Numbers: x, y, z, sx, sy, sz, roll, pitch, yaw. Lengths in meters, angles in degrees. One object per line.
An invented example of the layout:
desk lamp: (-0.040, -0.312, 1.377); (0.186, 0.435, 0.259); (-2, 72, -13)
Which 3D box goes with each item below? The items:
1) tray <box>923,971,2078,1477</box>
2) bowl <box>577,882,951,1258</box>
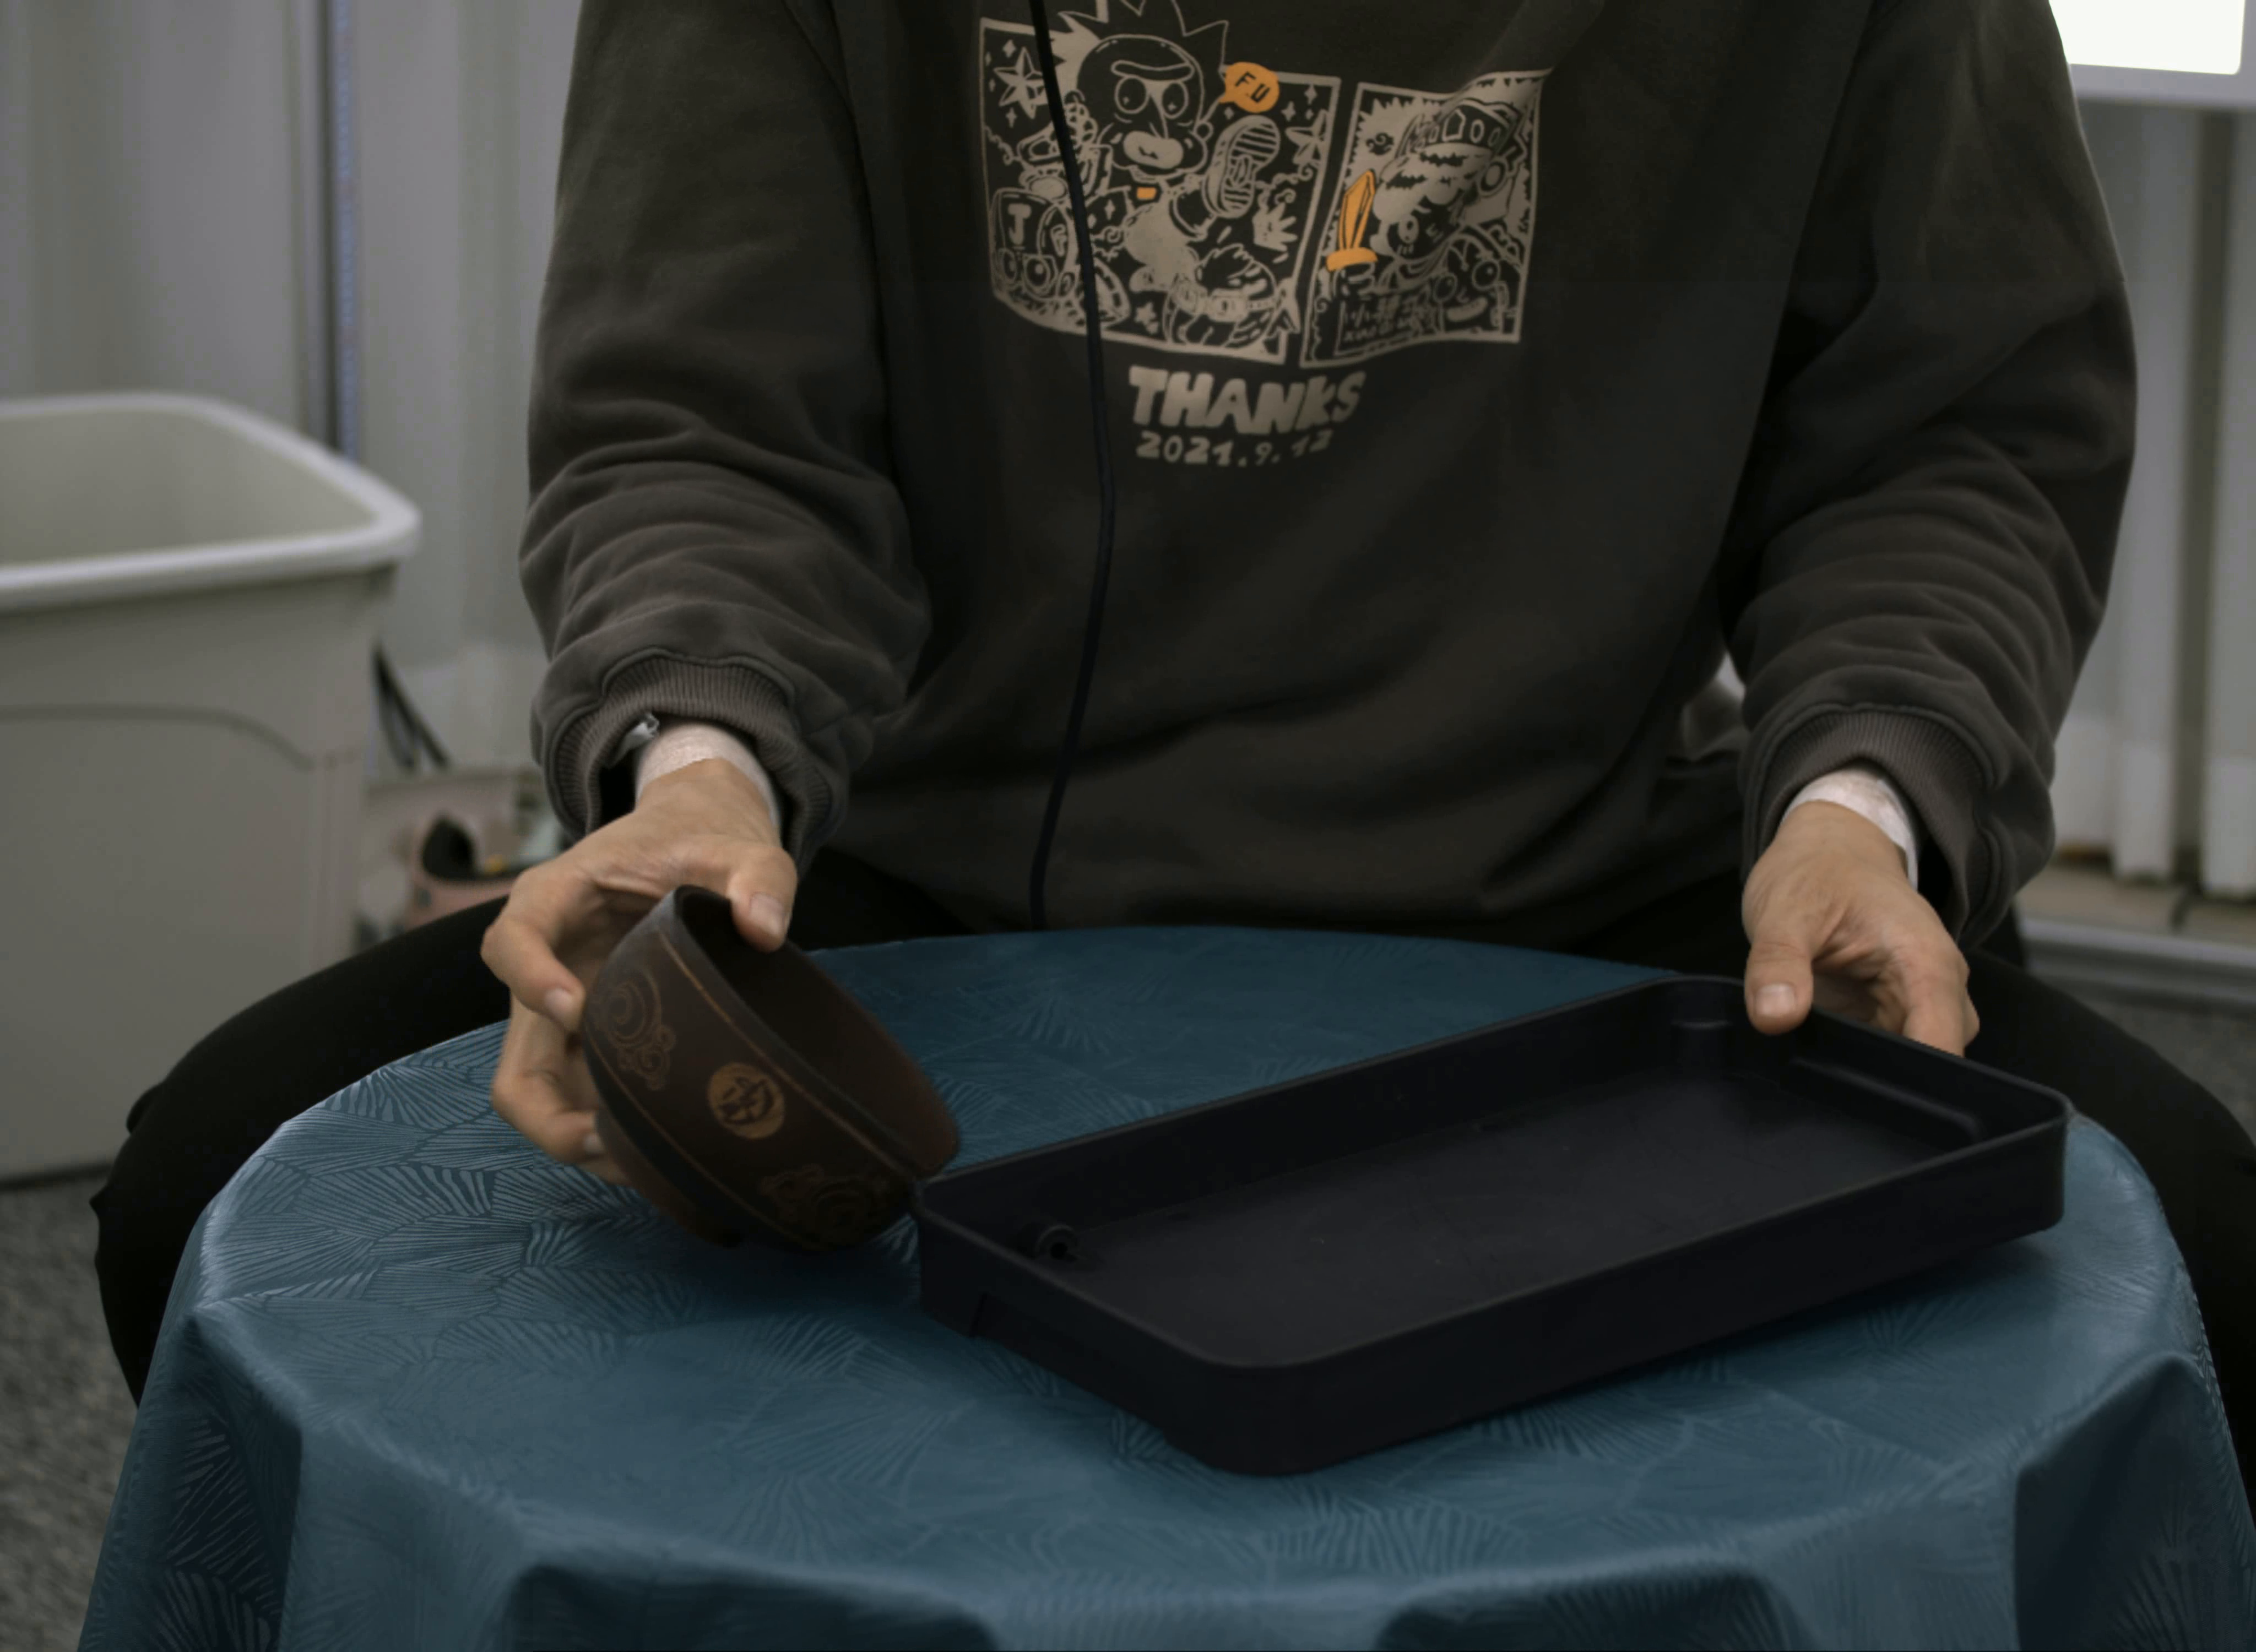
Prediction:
tray: (0.113, 0.111, 1.553); (0.319, 0.037, 0.182); (-14, 20, -35)
bowl: (-0.116, 0.081, 1.556); (0.118, 0.070, 0.117); (45, 6, -5)
